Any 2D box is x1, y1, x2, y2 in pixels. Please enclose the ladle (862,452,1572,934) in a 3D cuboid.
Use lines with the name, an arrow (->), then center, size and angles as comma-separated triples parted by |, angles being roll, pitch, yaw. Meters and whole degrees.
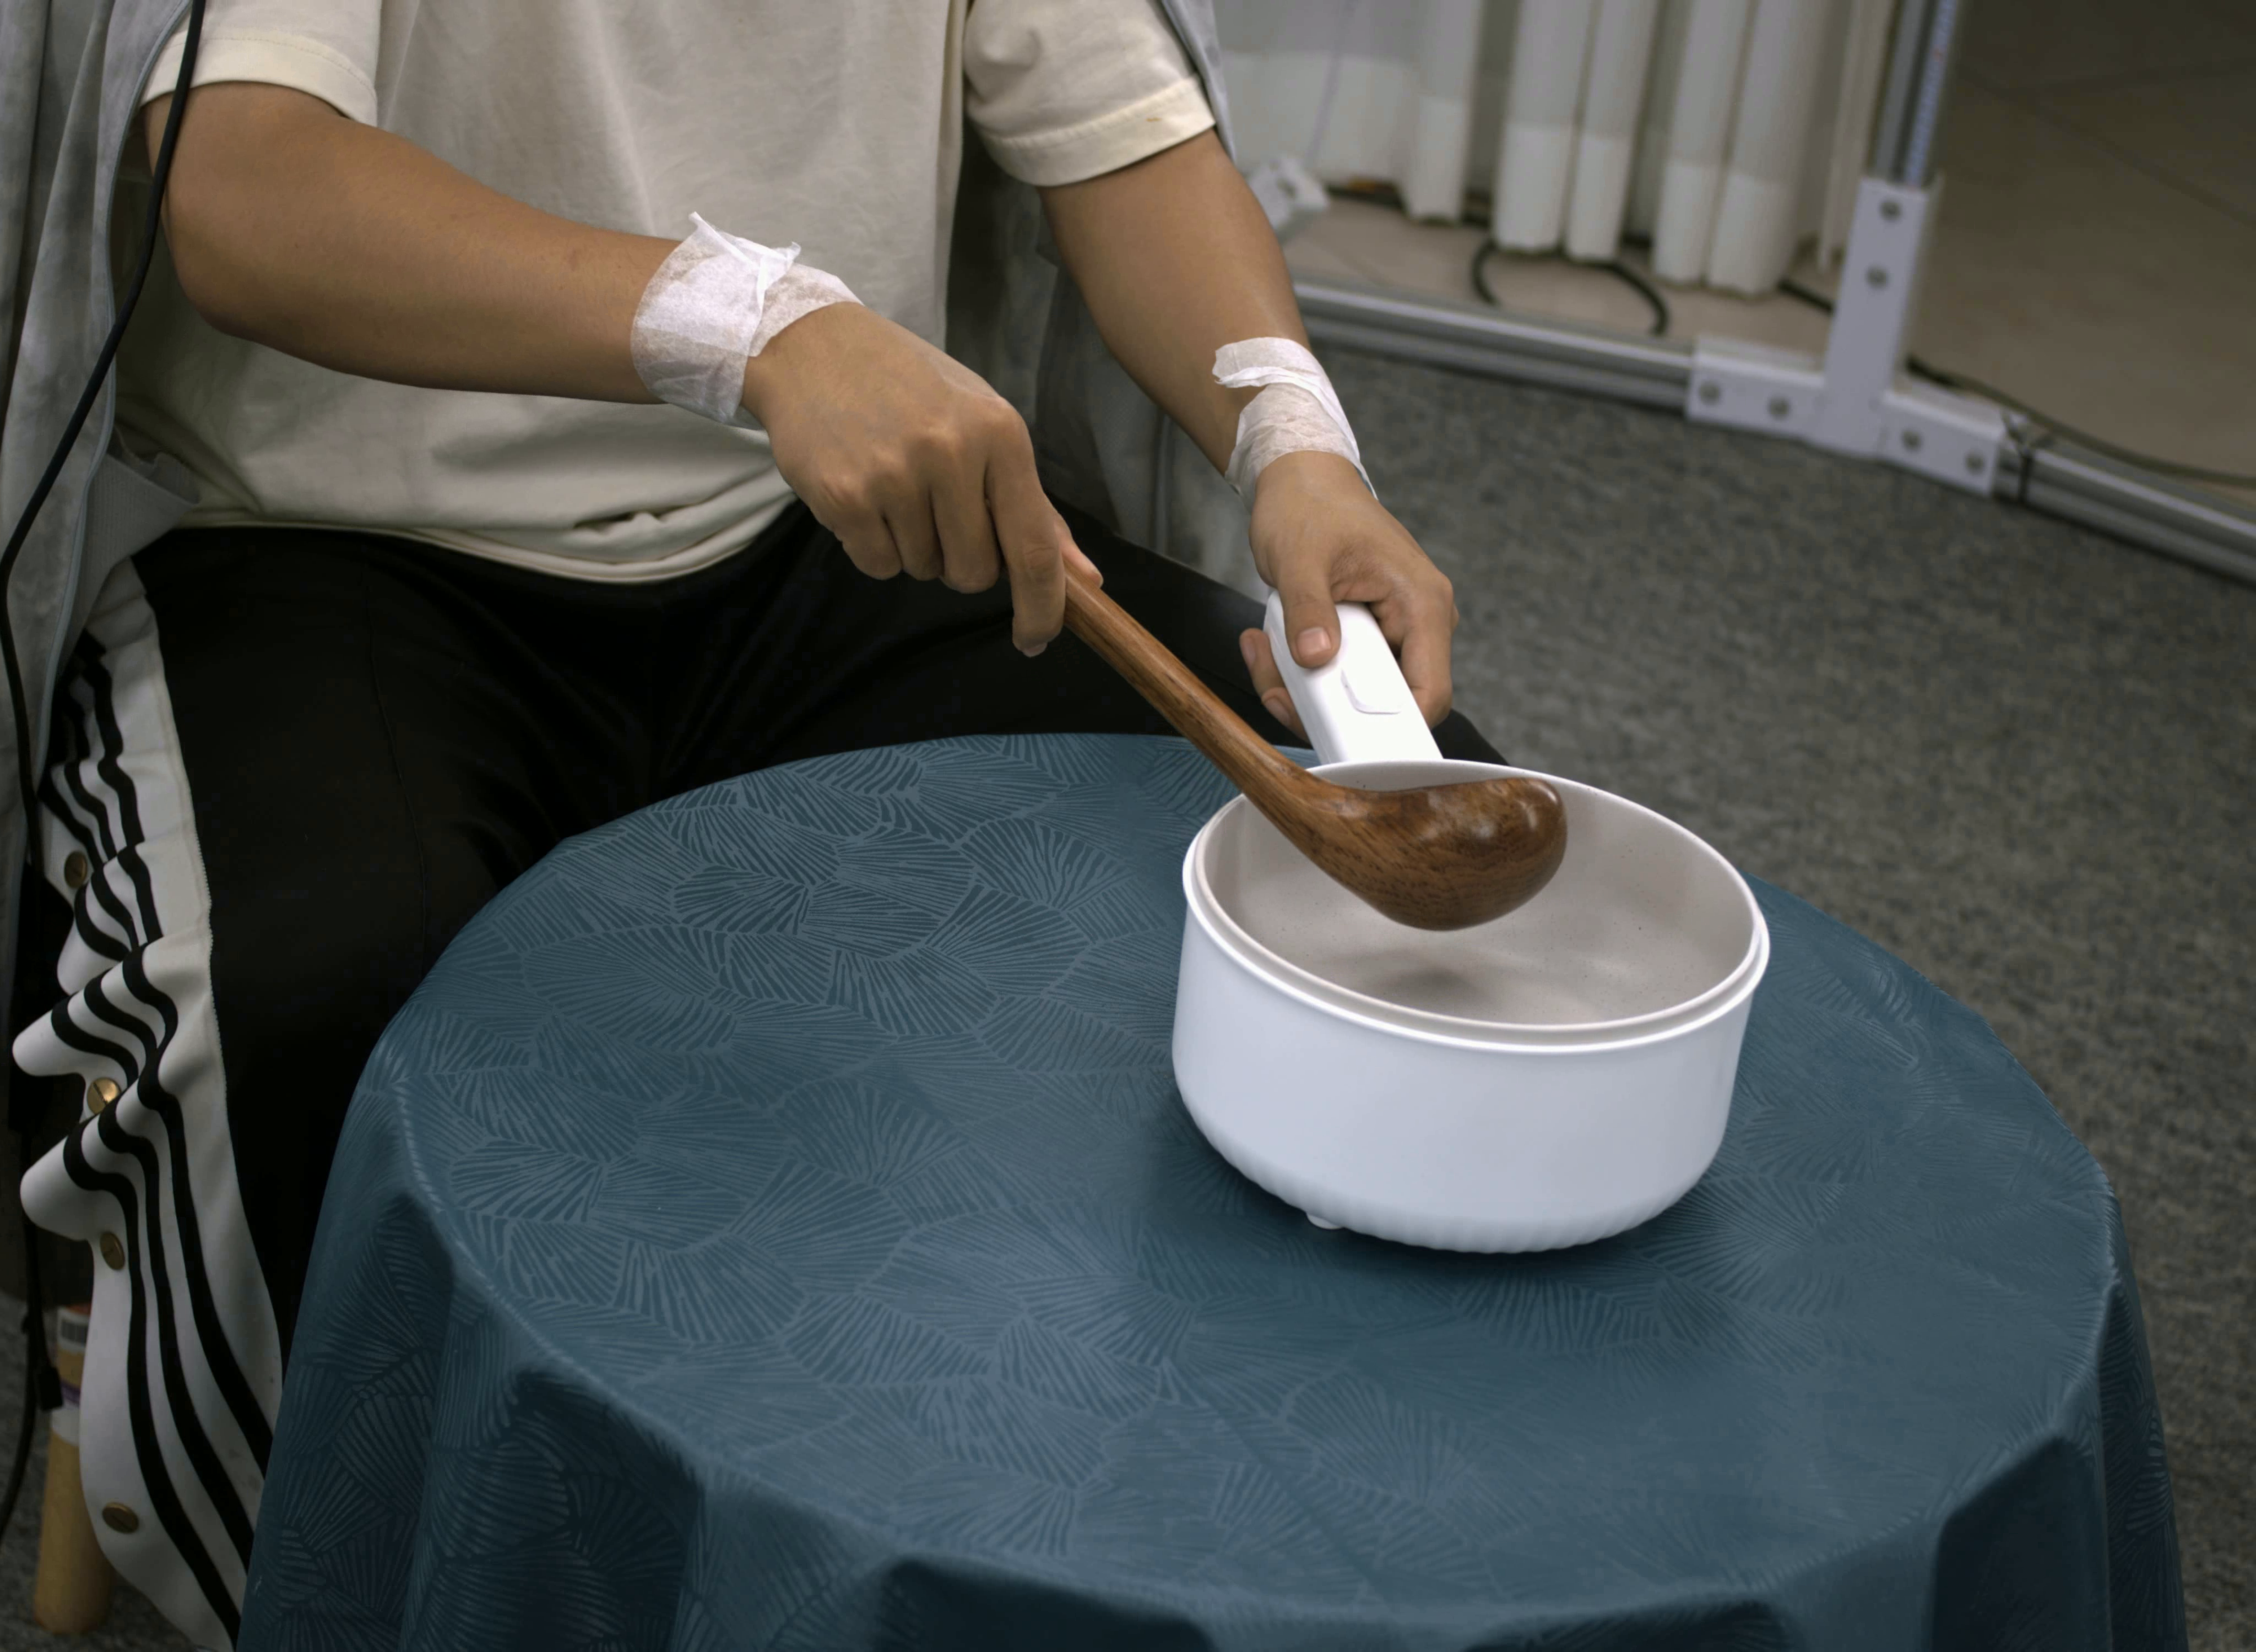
ladle -> 0.034, -0.058, 1.860 | 0.275, 0.082, 0.076 | 39, 44, 9

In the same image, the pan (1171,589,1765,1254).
pan -> 0.100, 0.031, 1.902 | 0.200, 0.102, 0.357 | 0, 27, -11
